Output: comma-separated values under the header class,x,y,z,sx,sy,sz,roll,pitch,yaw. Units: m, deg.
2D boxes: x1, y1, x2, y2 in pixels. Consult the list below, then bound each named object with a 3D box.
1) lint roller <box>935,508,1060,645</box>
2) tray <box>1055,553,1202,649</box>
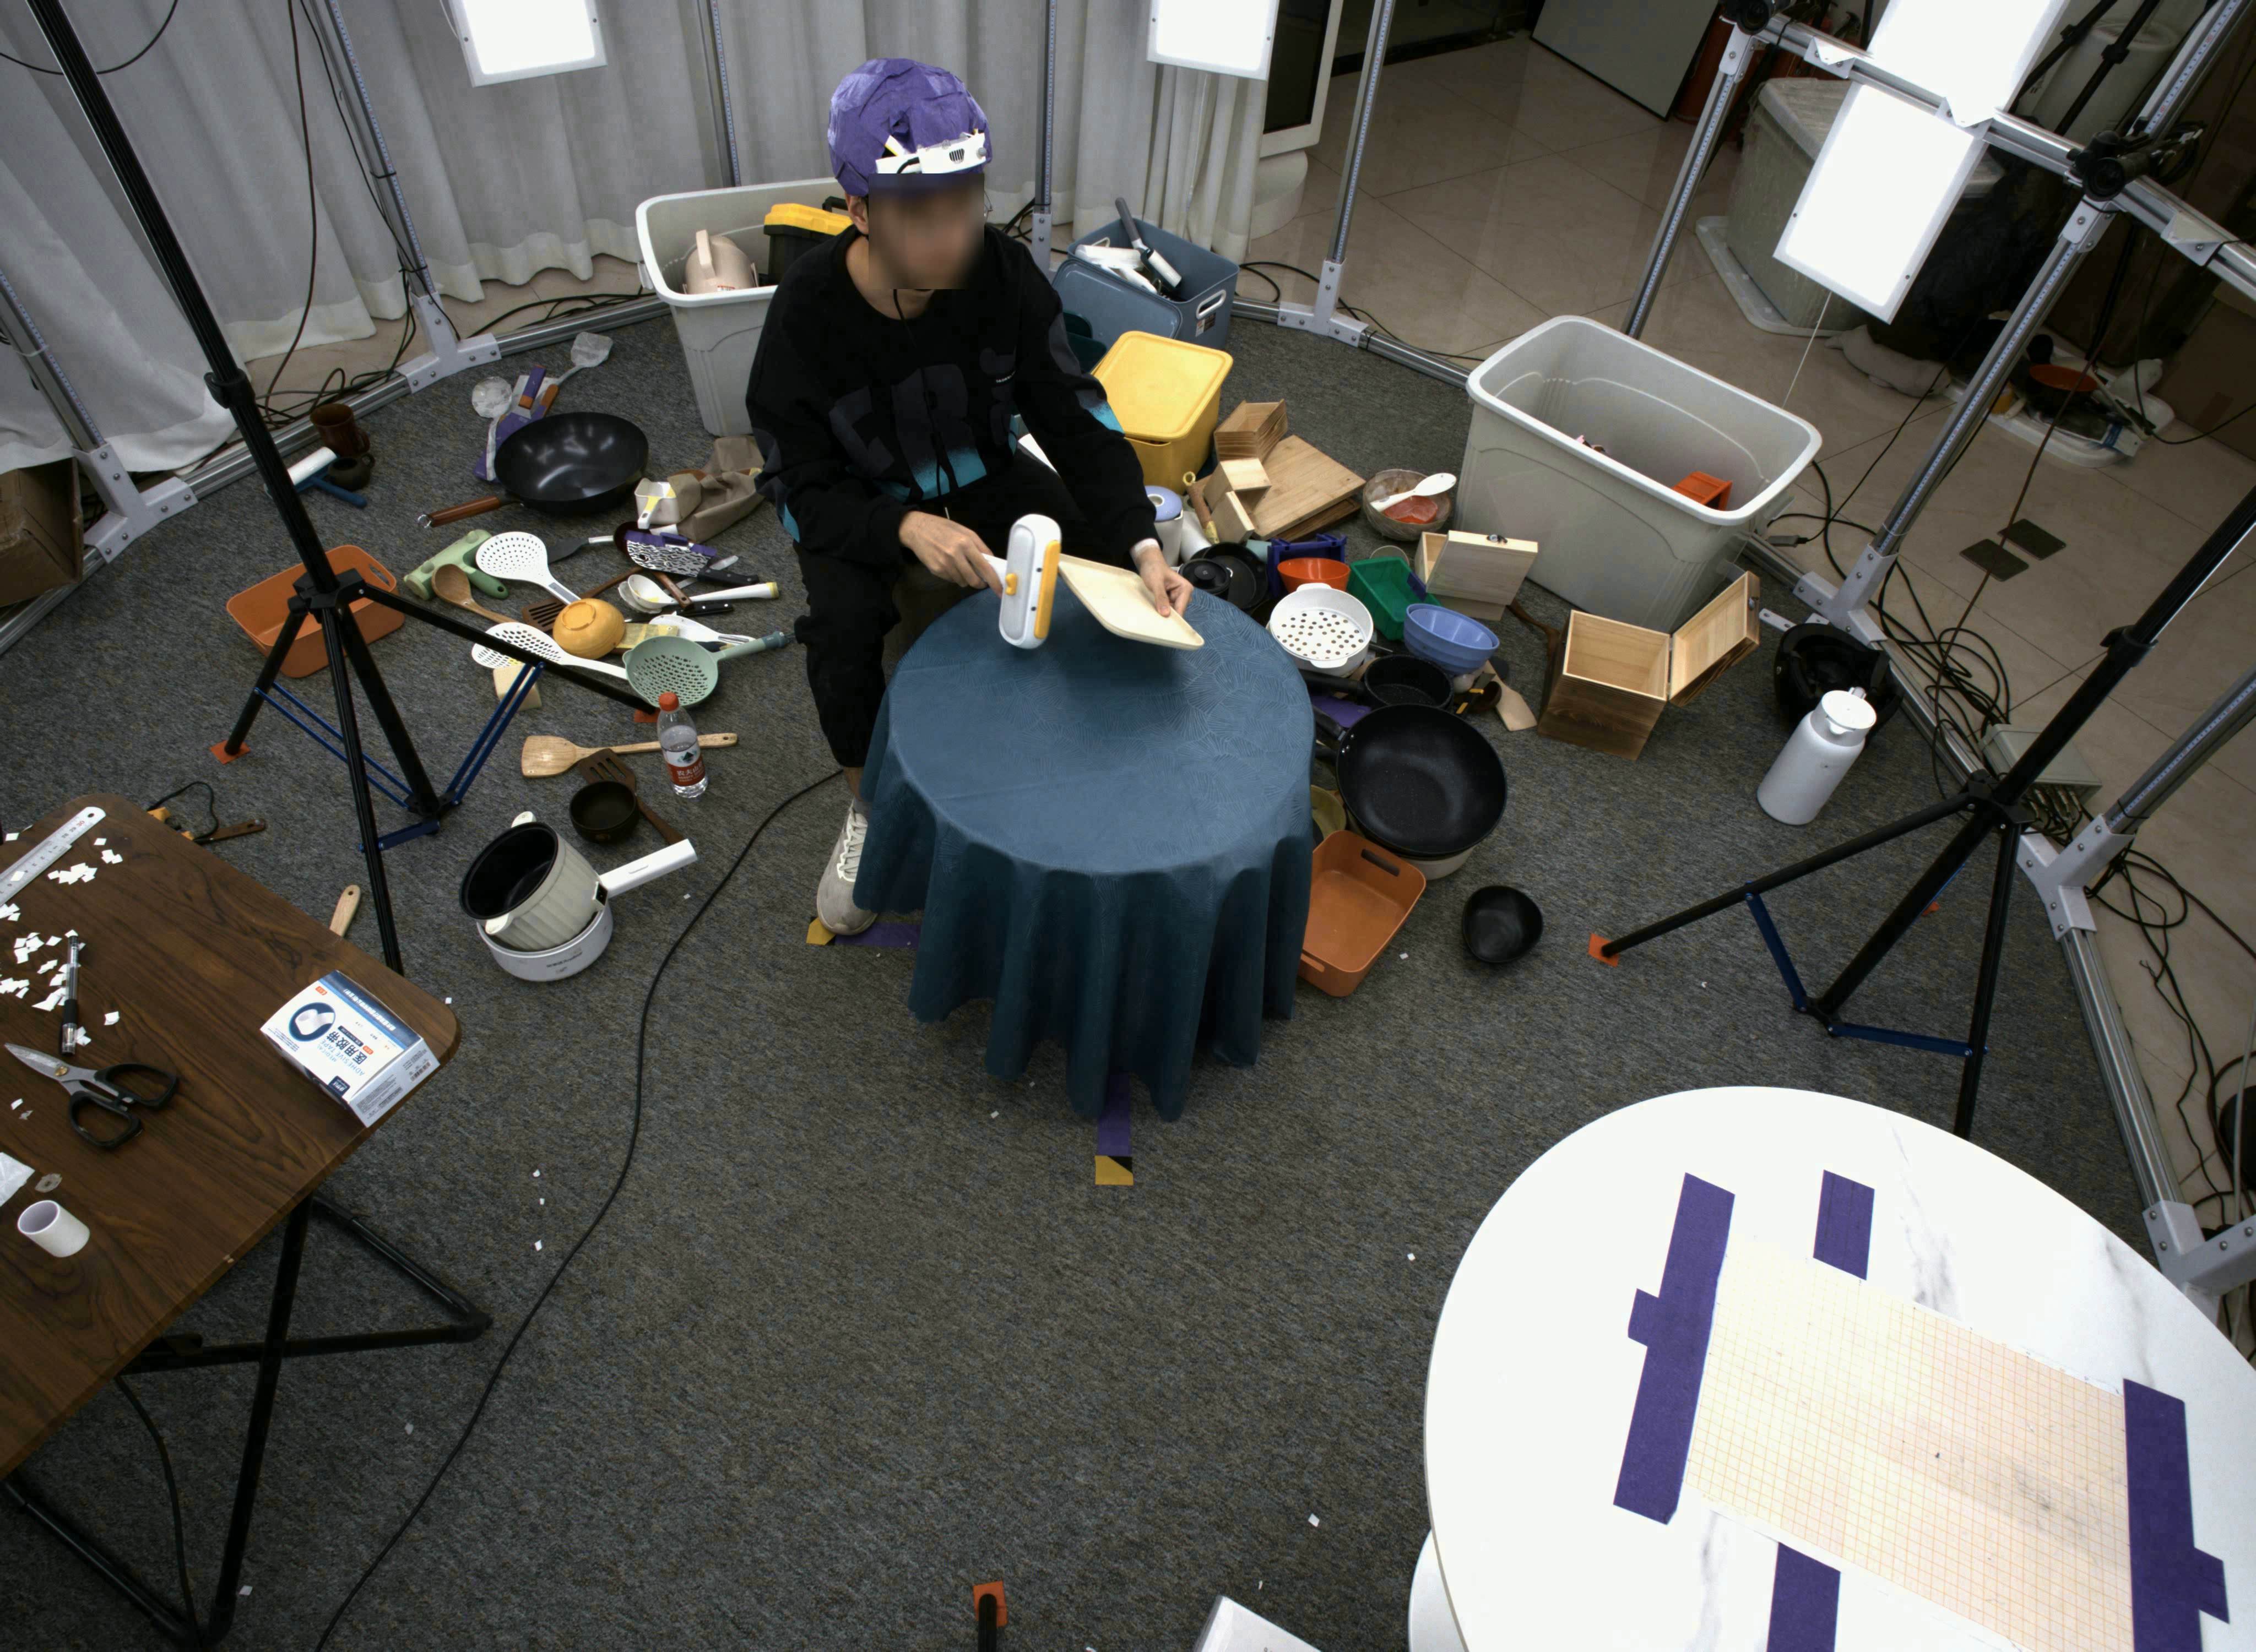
class,x,y,z,sx,sy,sz,roll,pitch,yaw
lint roller,-0.187,-0.367,1.842,0.194,0.189,0.075,23,33,29
tray,-0.007,-0.321,1.838,0.170,0.017,0.245,6,31,-33
